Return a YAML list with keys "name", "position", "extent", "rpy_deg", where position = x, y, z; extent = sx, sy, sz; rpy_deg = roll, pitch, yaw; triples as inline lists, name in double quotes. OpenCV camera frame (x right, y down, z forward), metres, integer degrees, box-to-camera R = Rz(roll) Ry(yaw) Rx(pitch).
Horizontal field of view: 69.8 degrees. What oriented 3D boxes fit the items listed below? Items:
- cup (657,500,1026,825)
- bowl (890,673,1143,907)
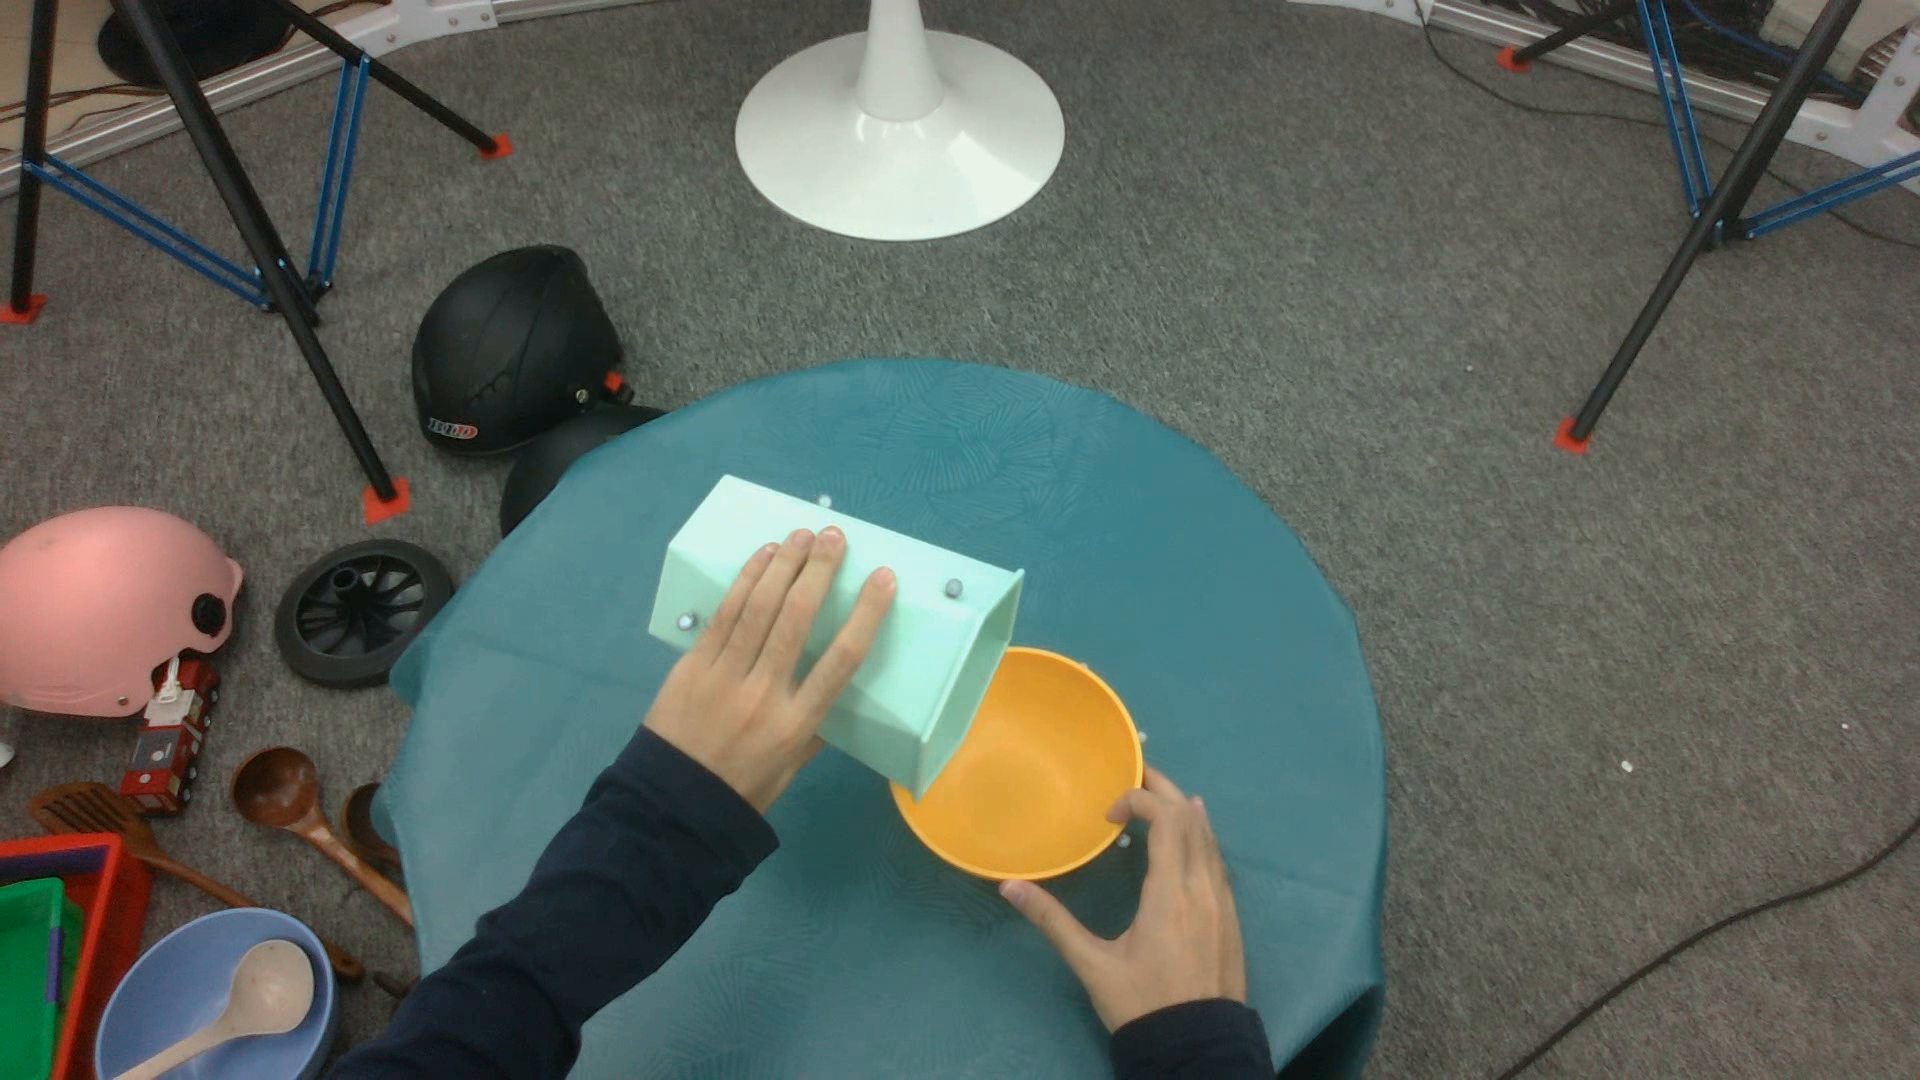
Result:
- name: "cup"
  position: [-0.064, 0.055, 0.730]
  extent: [0.163, 0.130, 0.116]
  rpy_deg: [25, 57, 12]
- name: "bowl"
  position: [0.032, 0.154, 0.808]
  extent: [0.145, 0.060, 0.146]
  rpy_deg: [-1, 55, 1]
